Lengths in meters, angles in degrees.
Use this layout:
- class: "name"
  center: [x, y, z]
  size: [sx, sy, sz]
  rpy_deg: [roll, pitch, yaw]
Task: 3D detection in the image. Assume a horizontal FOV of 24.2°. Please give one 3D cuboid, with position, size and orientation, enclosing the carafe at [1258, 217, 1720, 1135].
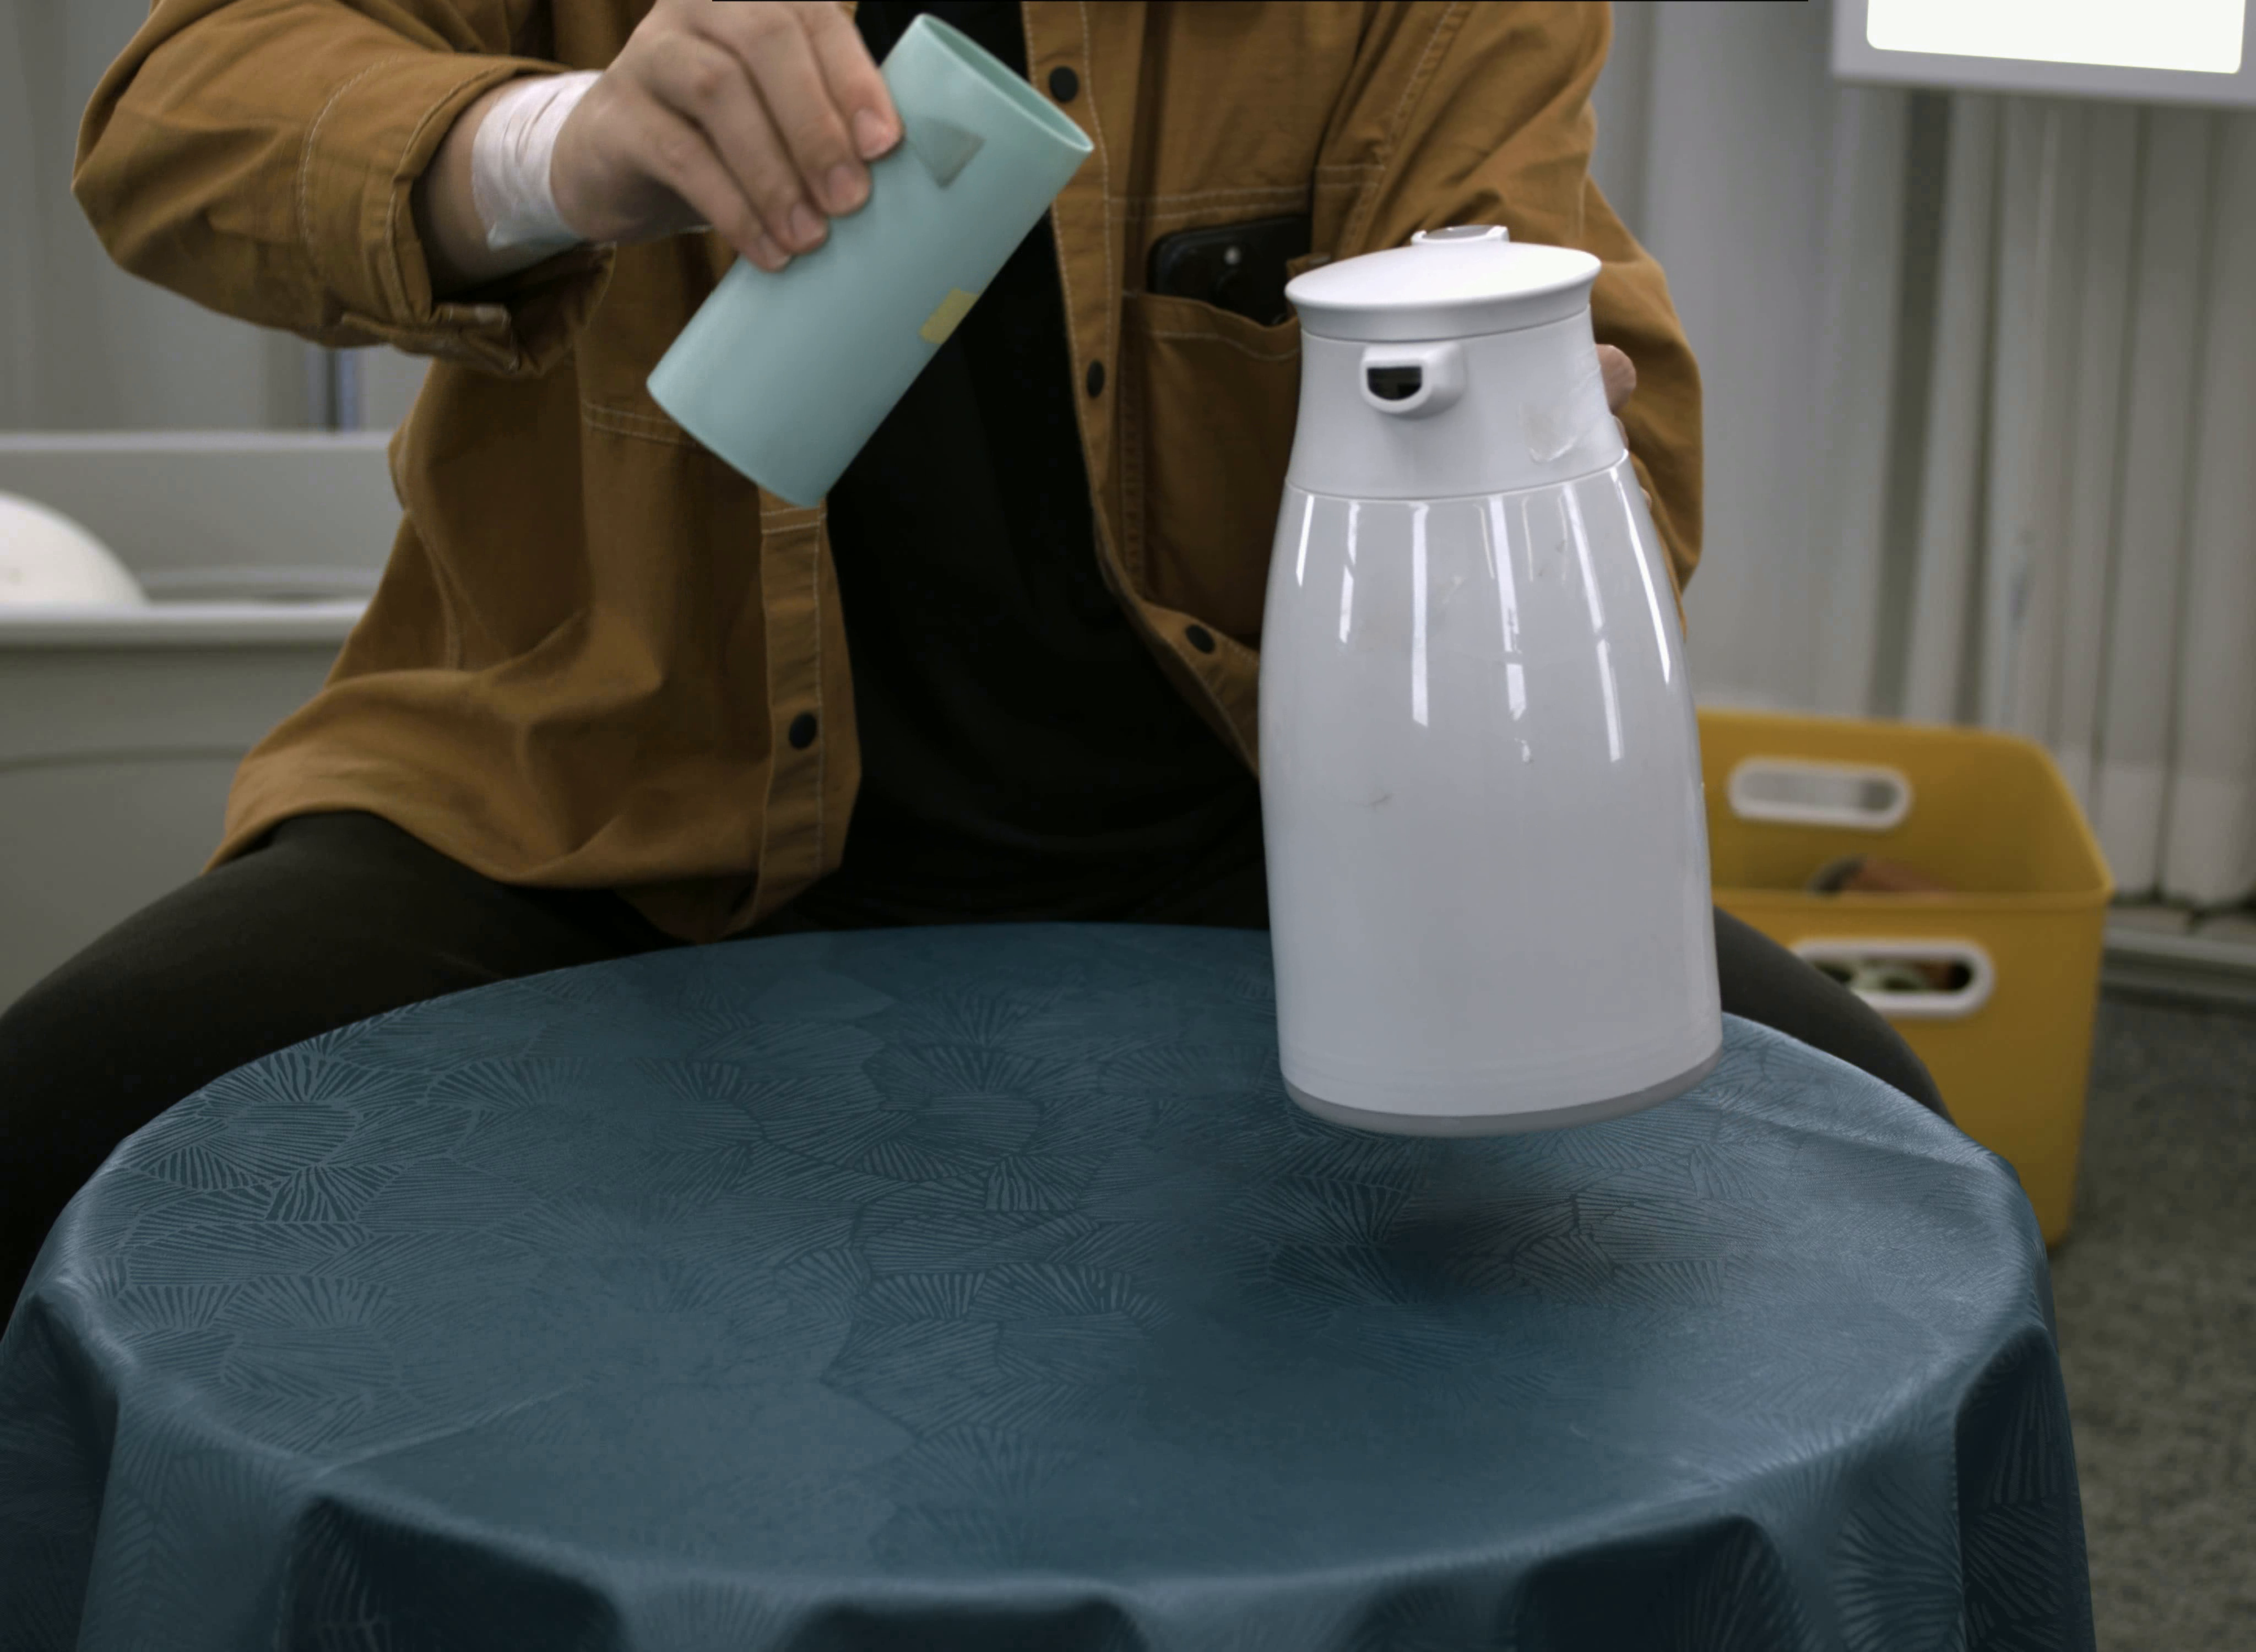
- class: "carafe"
  center: [0.105, -0.052, 1.554]
  size: [0.131, 0.250, 0.167]
  rpy_deg: [-1, 15, 16]

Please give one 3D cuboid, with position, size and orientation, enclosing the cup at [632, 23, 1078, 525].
- class: "cup"
  center: [-0.079, -0.157, 1.489]
  size: [0.067, 0.132, 0.066]
  rpy_deg: [36, 10, -7]
